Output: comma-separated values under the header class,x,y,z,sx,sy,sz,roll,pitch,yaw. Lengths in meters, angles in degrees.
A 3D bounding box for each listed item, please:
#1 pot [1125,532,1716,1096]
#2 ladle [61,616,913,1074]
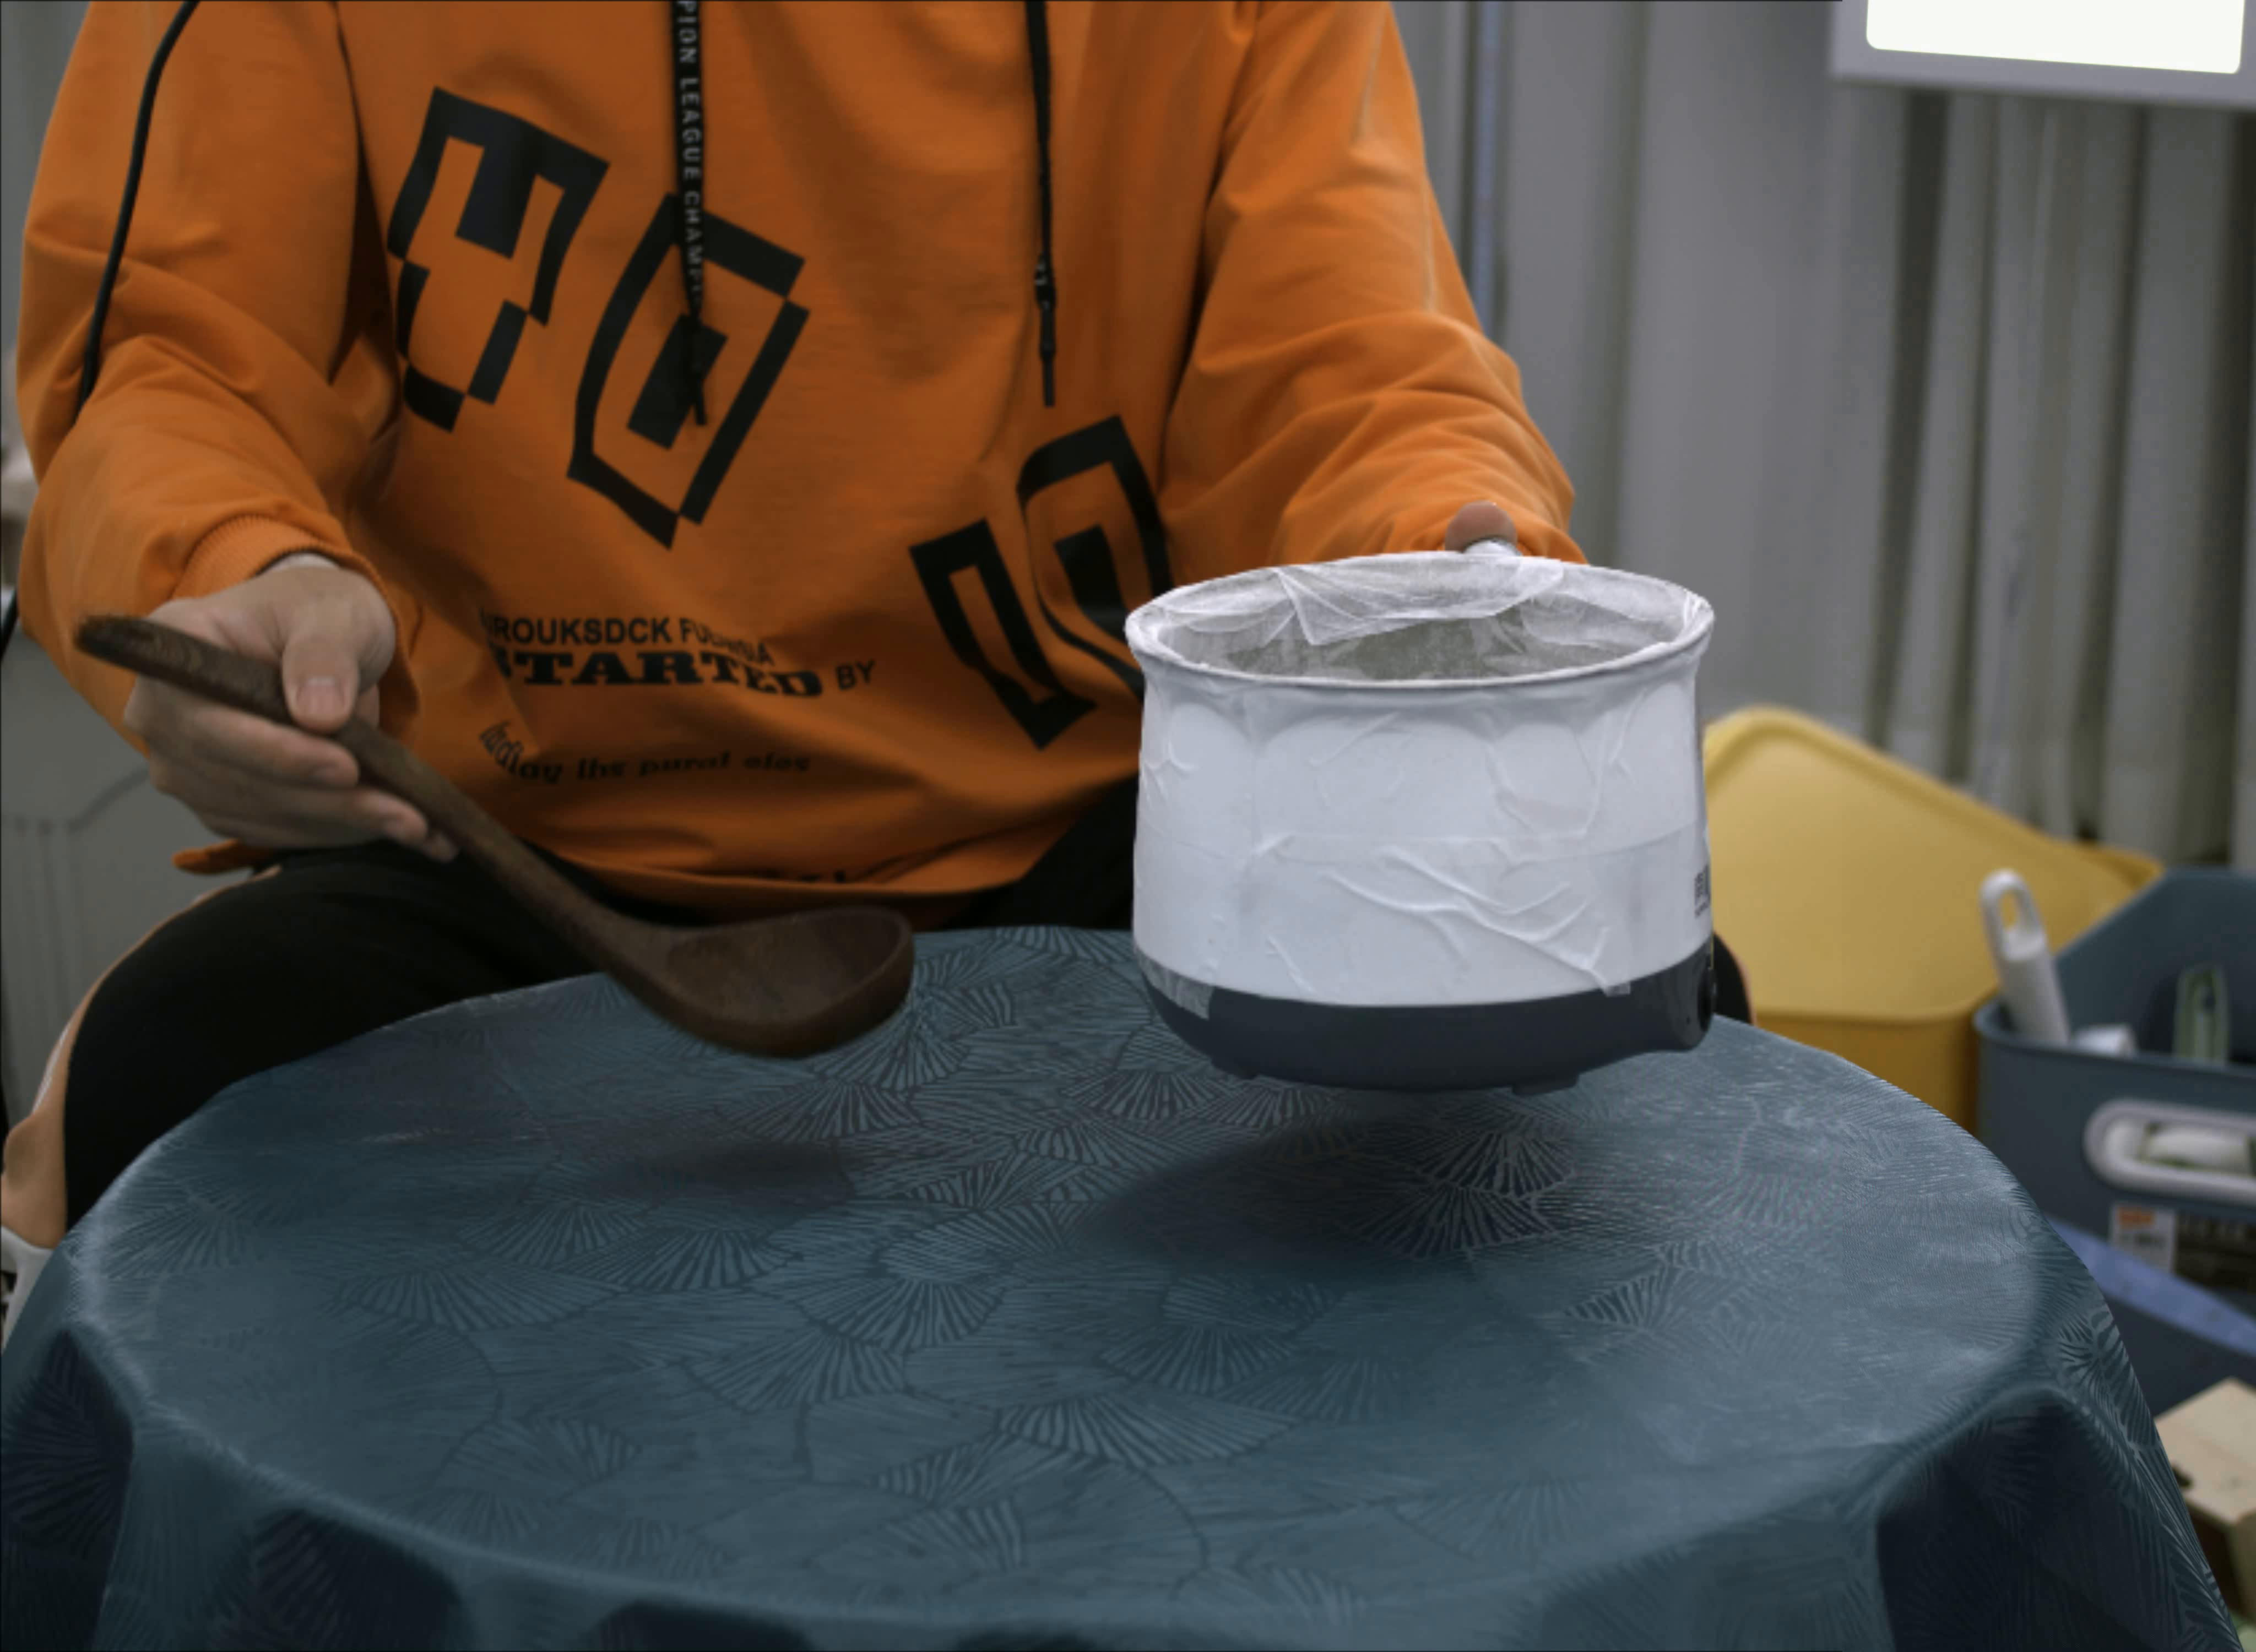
class,x,y,z,sx,sy,sz,roll,pitch,yaw
pot,0.095,-0.009,1.617,0.177,0.138,0.233,3,15,14
ladle,-0.192,-0.008,1.609,0.275,0.071,0.075,34,19,-12
